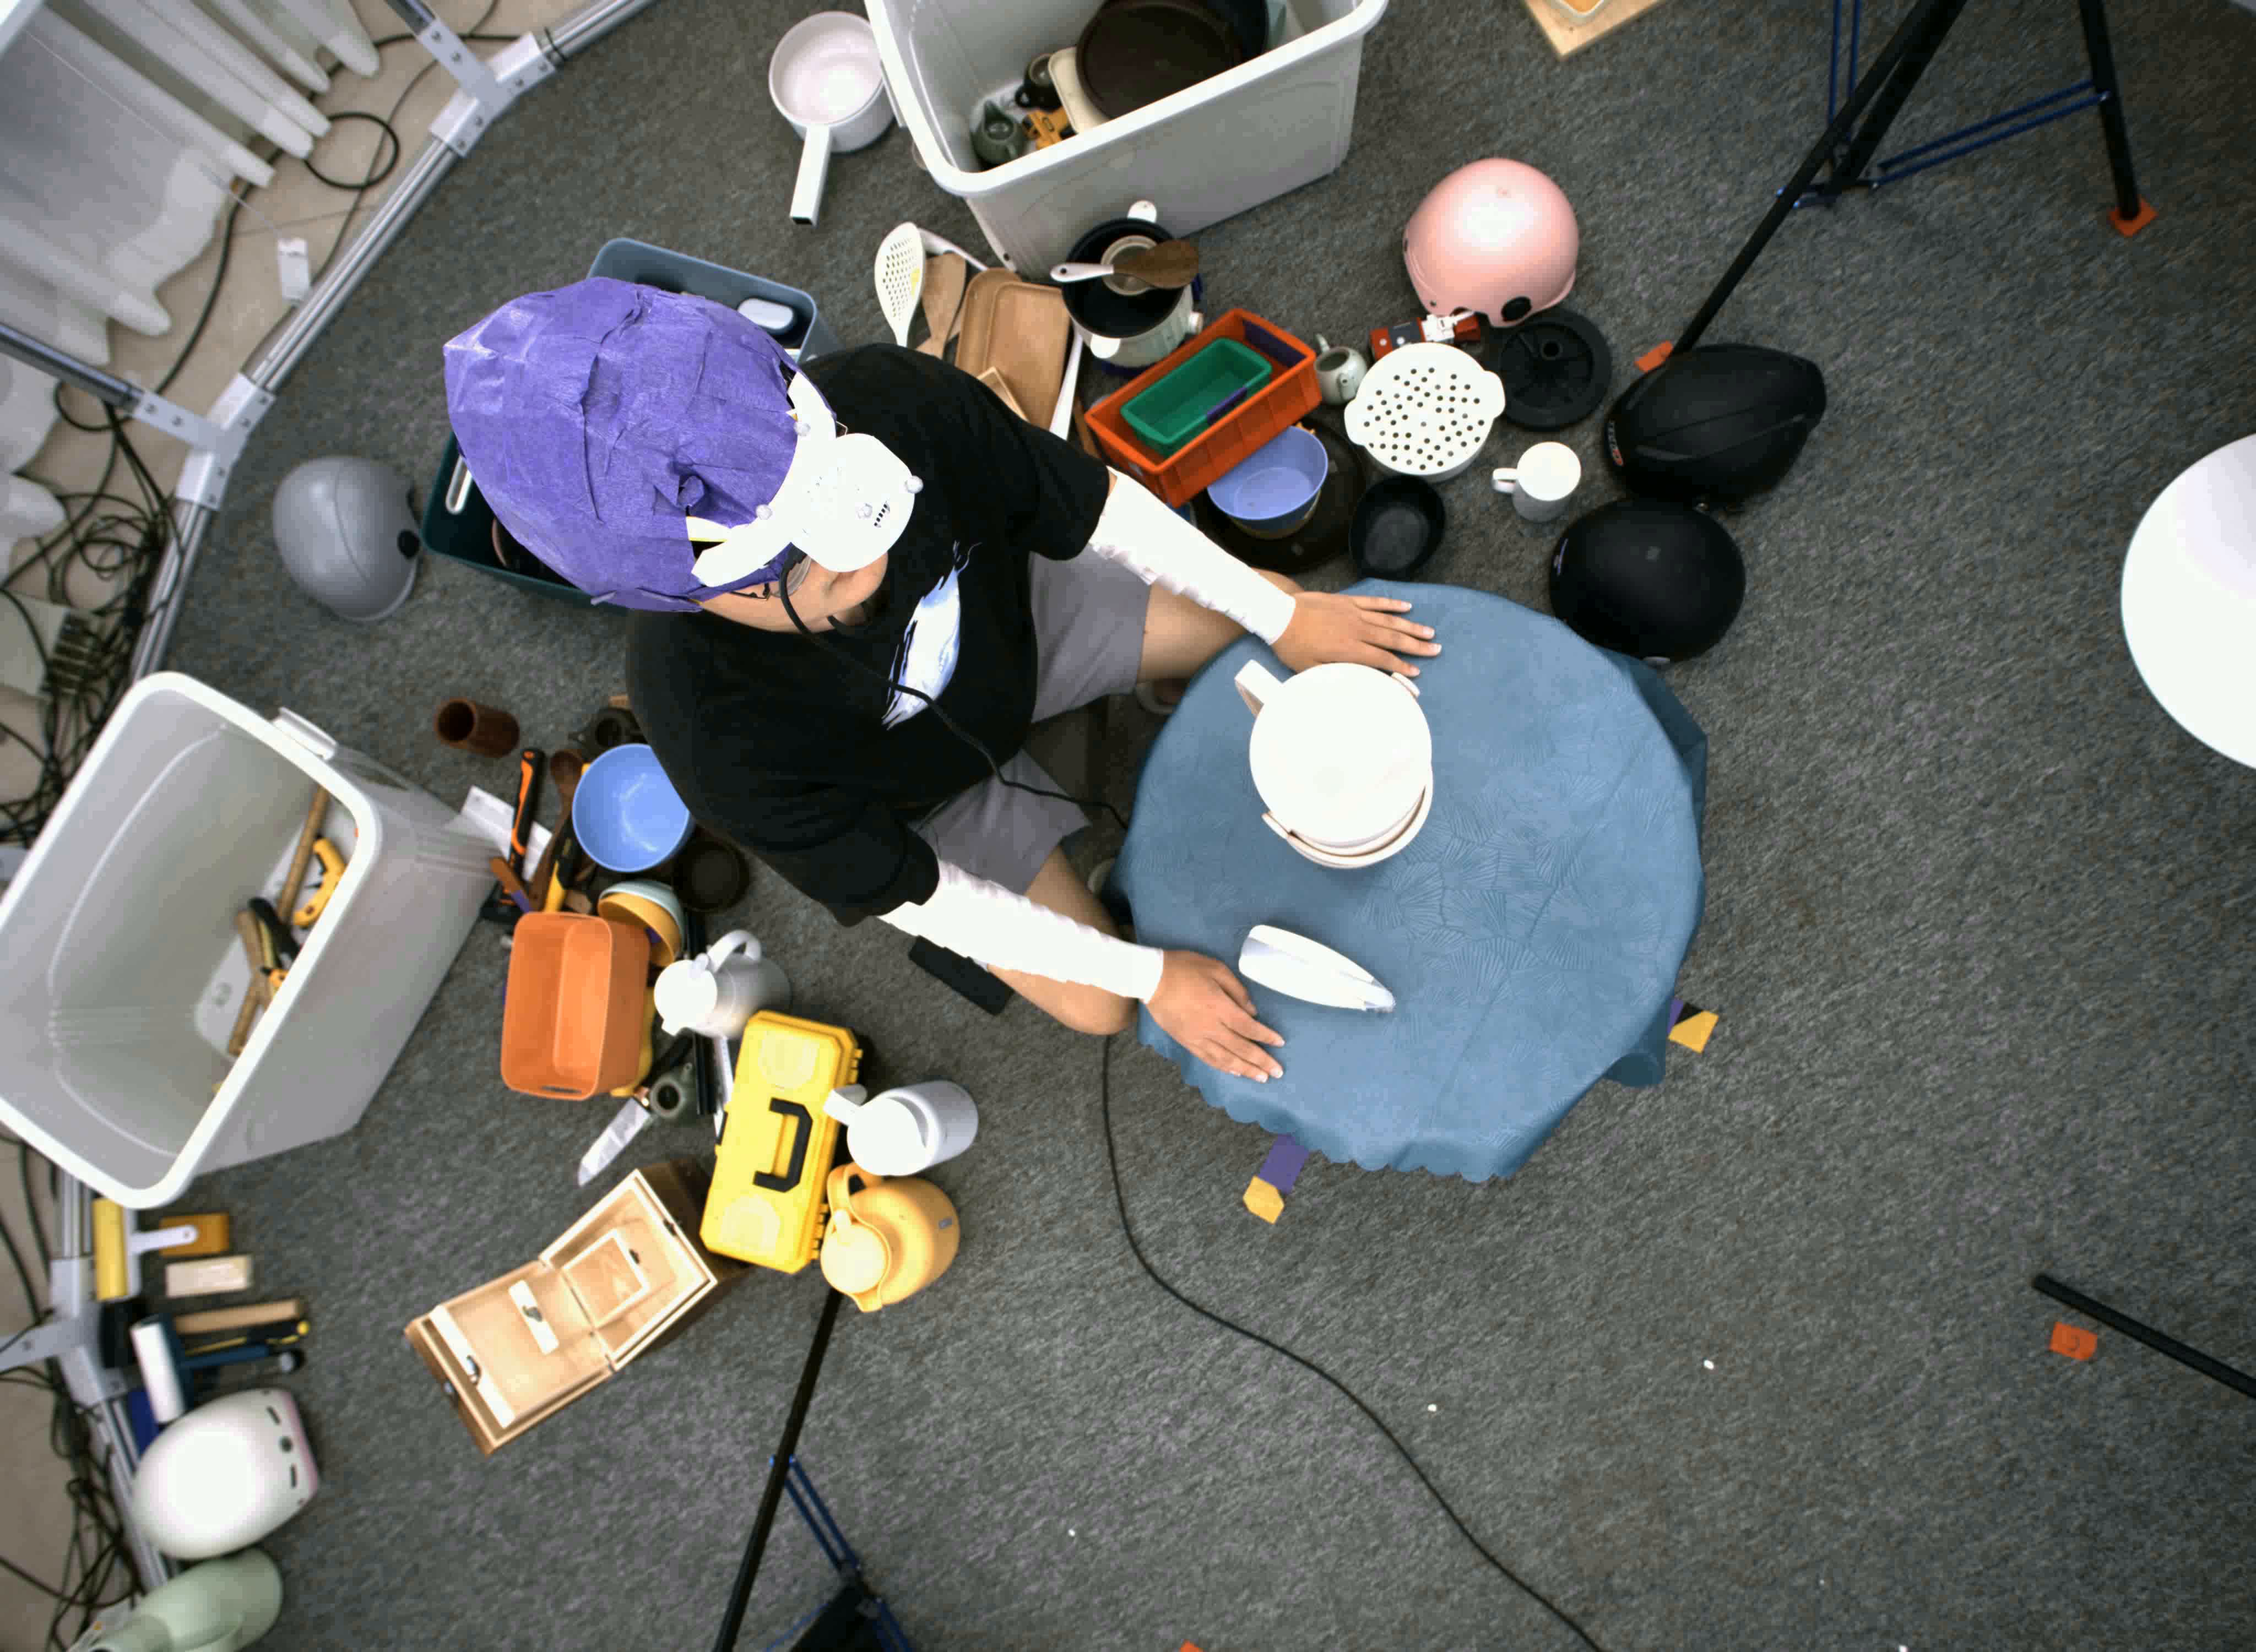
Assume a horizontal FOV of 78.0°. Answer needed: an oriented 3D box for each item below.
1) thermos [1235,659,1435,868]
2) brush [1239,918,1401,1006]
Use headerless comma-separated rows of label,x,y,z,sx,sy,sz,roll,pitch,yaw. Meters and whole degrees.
thermos,0.190,-0.065,1.280,0.206,0.406,0.176,43,94,11
brush,0.197,0.149,1.421,0.175,0.094,0.062,20,94,9
